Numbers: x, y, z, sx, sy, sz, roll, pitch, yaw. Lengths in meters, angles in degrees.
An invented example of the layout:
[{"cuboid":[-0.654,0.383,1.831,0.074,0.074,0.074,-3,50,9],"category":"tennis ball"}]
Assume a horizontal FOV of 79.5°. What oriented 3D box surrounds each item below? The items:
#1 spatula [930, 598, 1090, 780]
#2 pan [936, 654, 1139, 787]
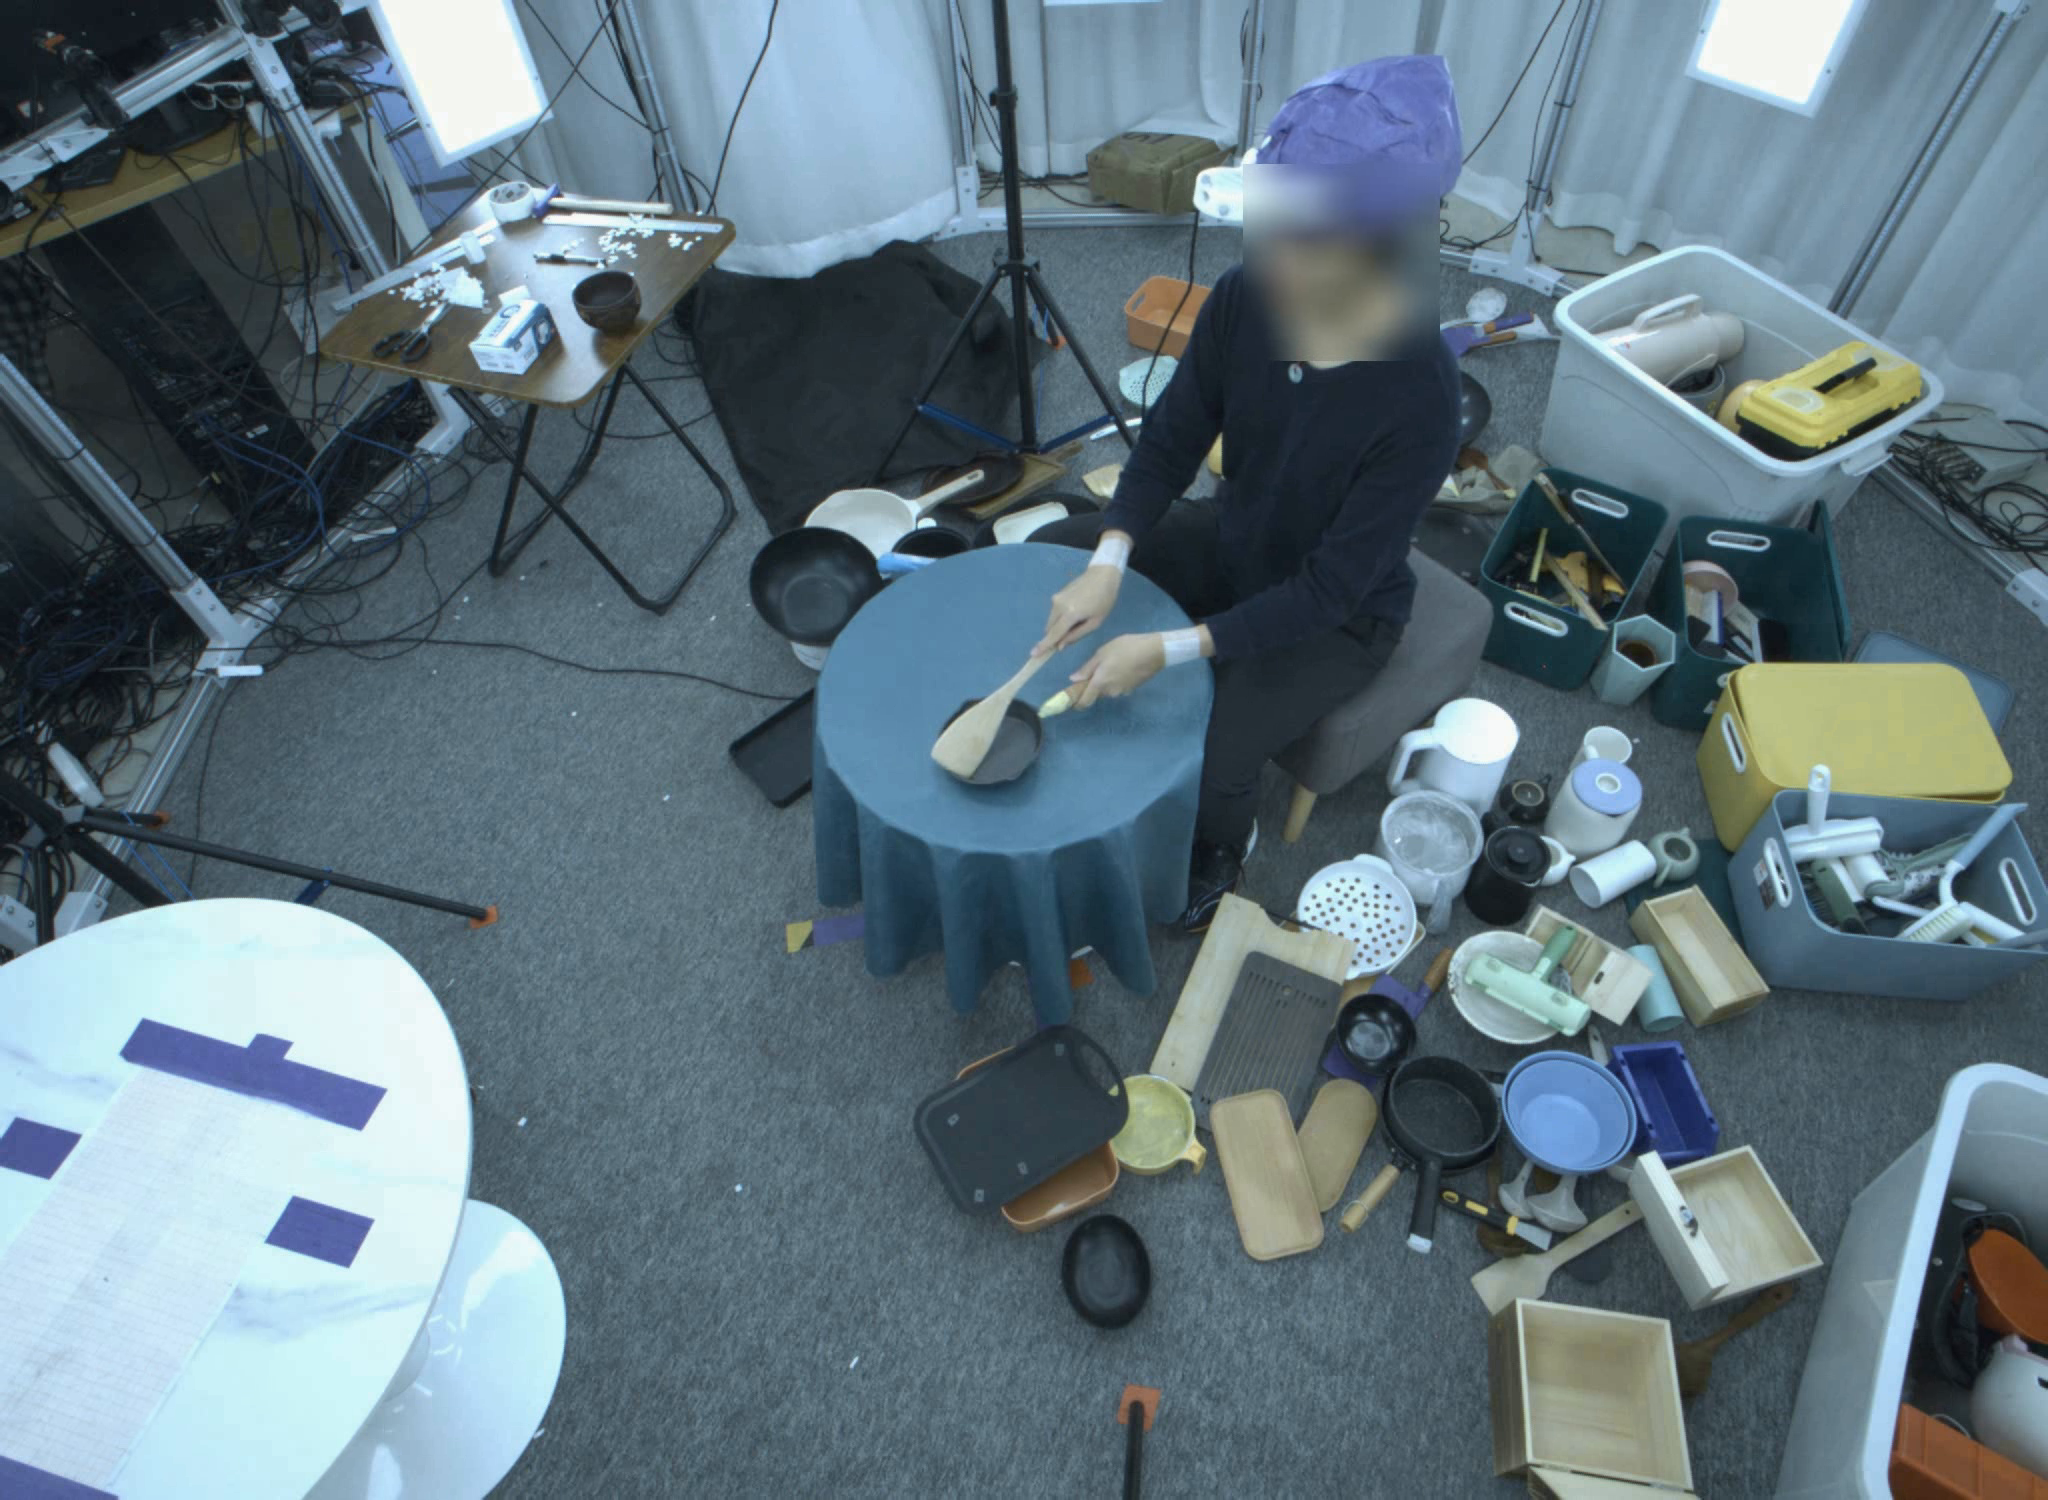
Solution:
[{"cuboid":[-0.010,-0.093,1.760,0.328,0.081,0.016,-50,34,-9],"category":"spatula"},{"cuboid":[0.027,-0.051,1.770,0.325,0.050,0.165,-27,54,-7],"category":"pan"}]
